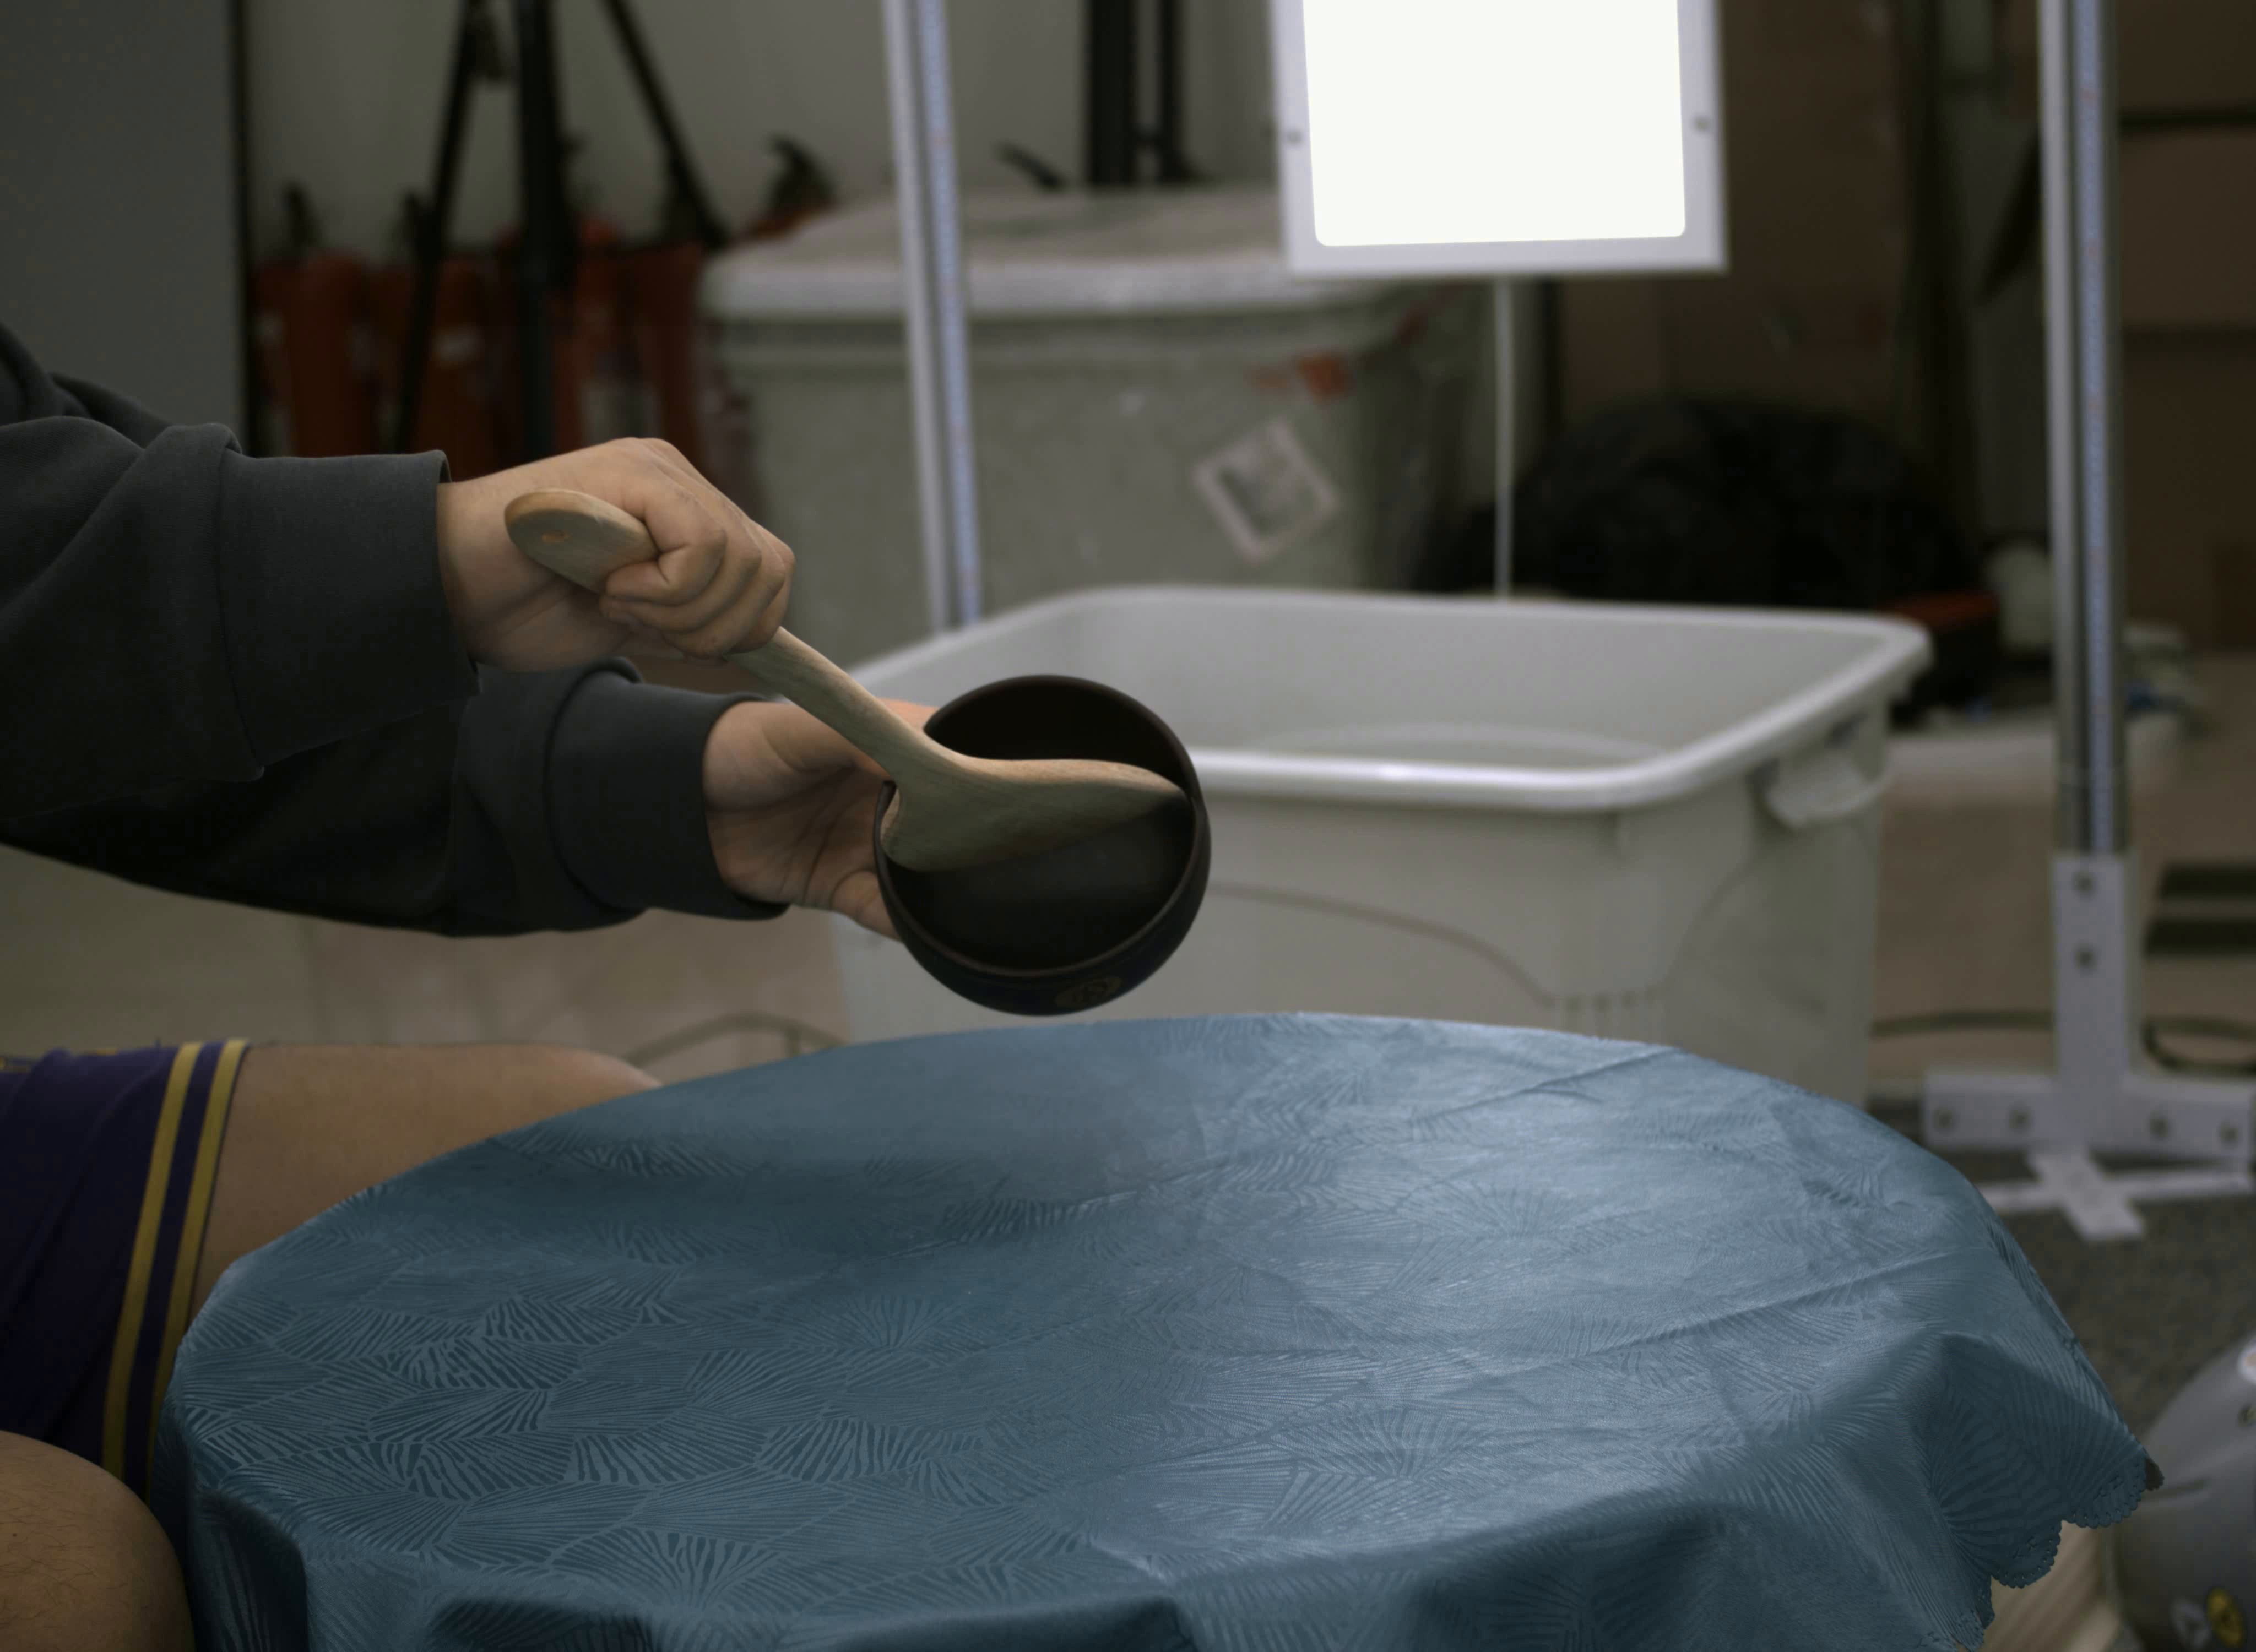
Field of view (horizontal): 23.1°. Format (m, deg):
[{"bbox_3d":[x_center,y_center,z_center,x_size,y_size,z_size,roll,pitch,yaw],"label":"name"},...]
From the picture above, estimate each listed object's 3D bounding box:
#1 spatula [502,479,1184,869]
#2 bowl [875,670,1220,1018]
[{"bbox_3d":[-0.091,-0.045,1.724,0.097,0.018,0.385,-19,-23,18],"label":"spatula"},{"bbox_3d":[-0.024,0.012,1.909,0.119,0.118,0.069,-1,-22,16],"label":"bowl"}]
